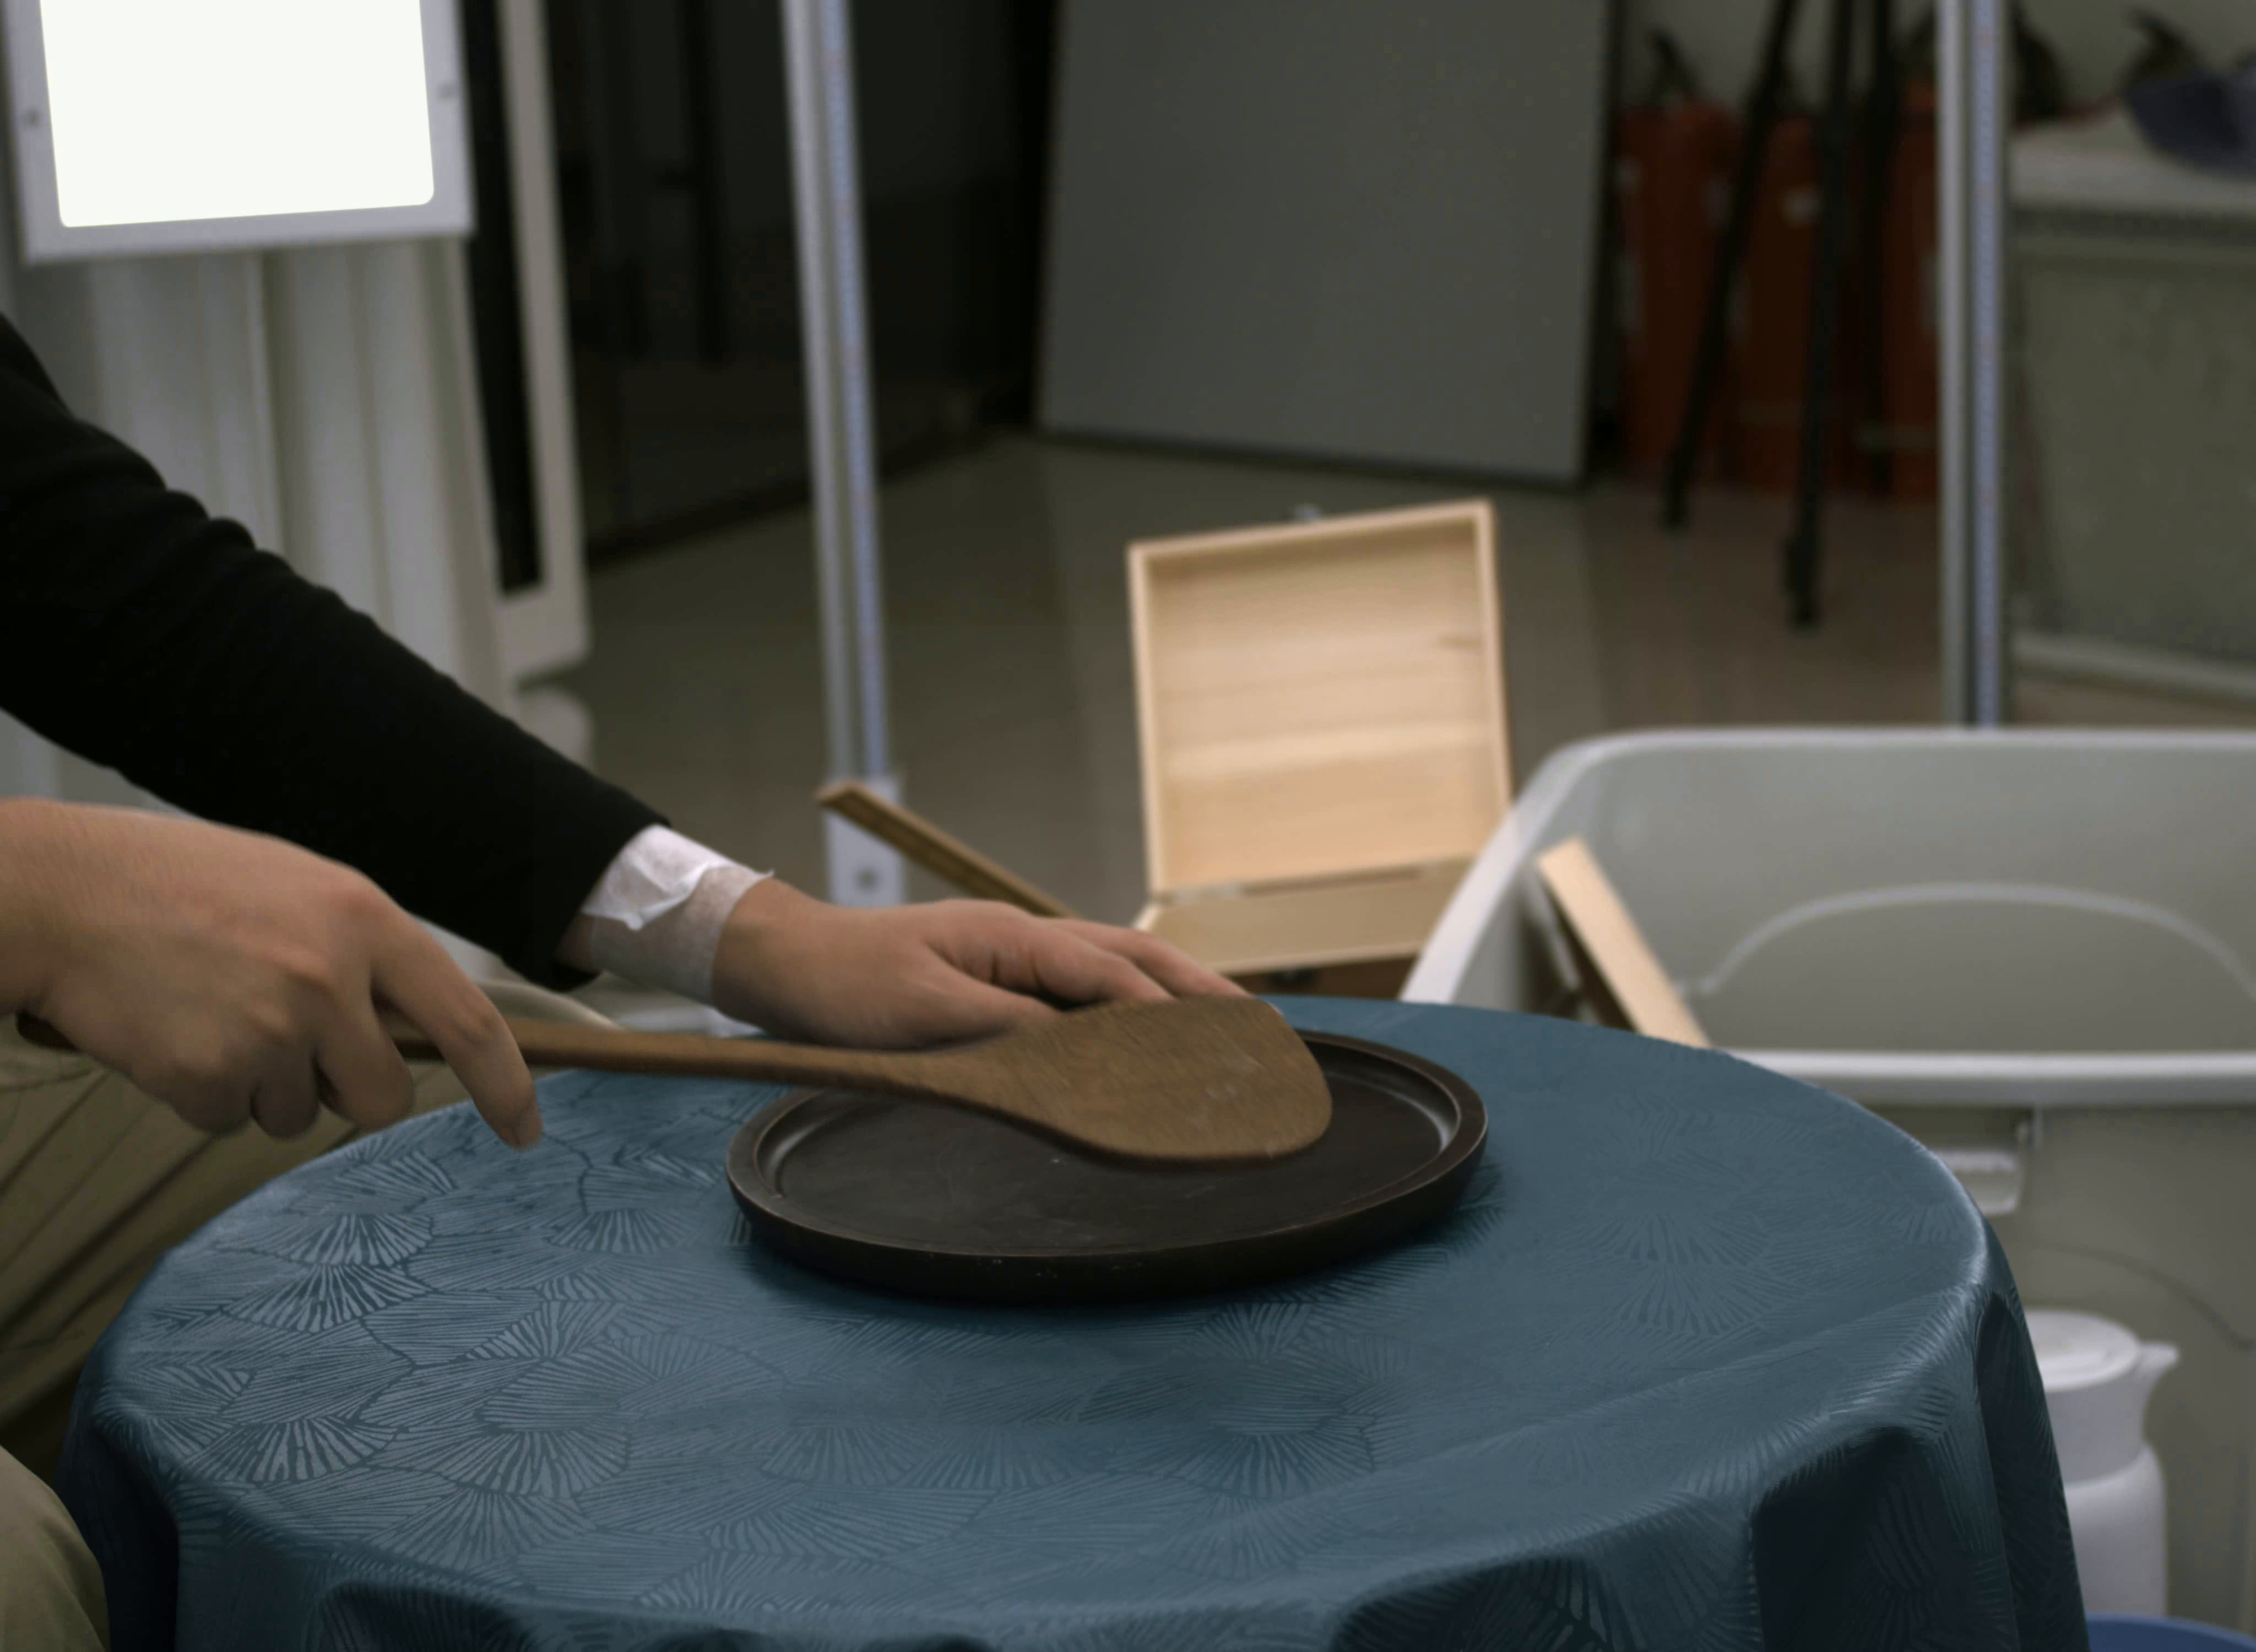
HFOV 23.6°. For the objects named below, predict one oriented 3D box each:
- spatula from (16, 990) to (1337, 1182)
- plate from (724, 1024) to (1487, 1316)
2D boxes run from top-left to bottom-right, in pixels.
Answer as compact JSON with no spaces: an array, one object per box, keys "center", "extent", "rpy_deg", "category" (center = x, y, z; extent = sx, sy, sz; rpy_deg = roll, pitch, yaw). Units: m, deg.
[{"center":[-0.127,0.069,1.564],"extent":[0.379,0.016,0.097],"rpy_deg":[4,27,-9],"category":"spatula"},{"center":[-0.007,0.111,1.767],"extent":[0.251,0.029,0.255],"rpy_deg":[-4,15,0],"category":"plate"}]
